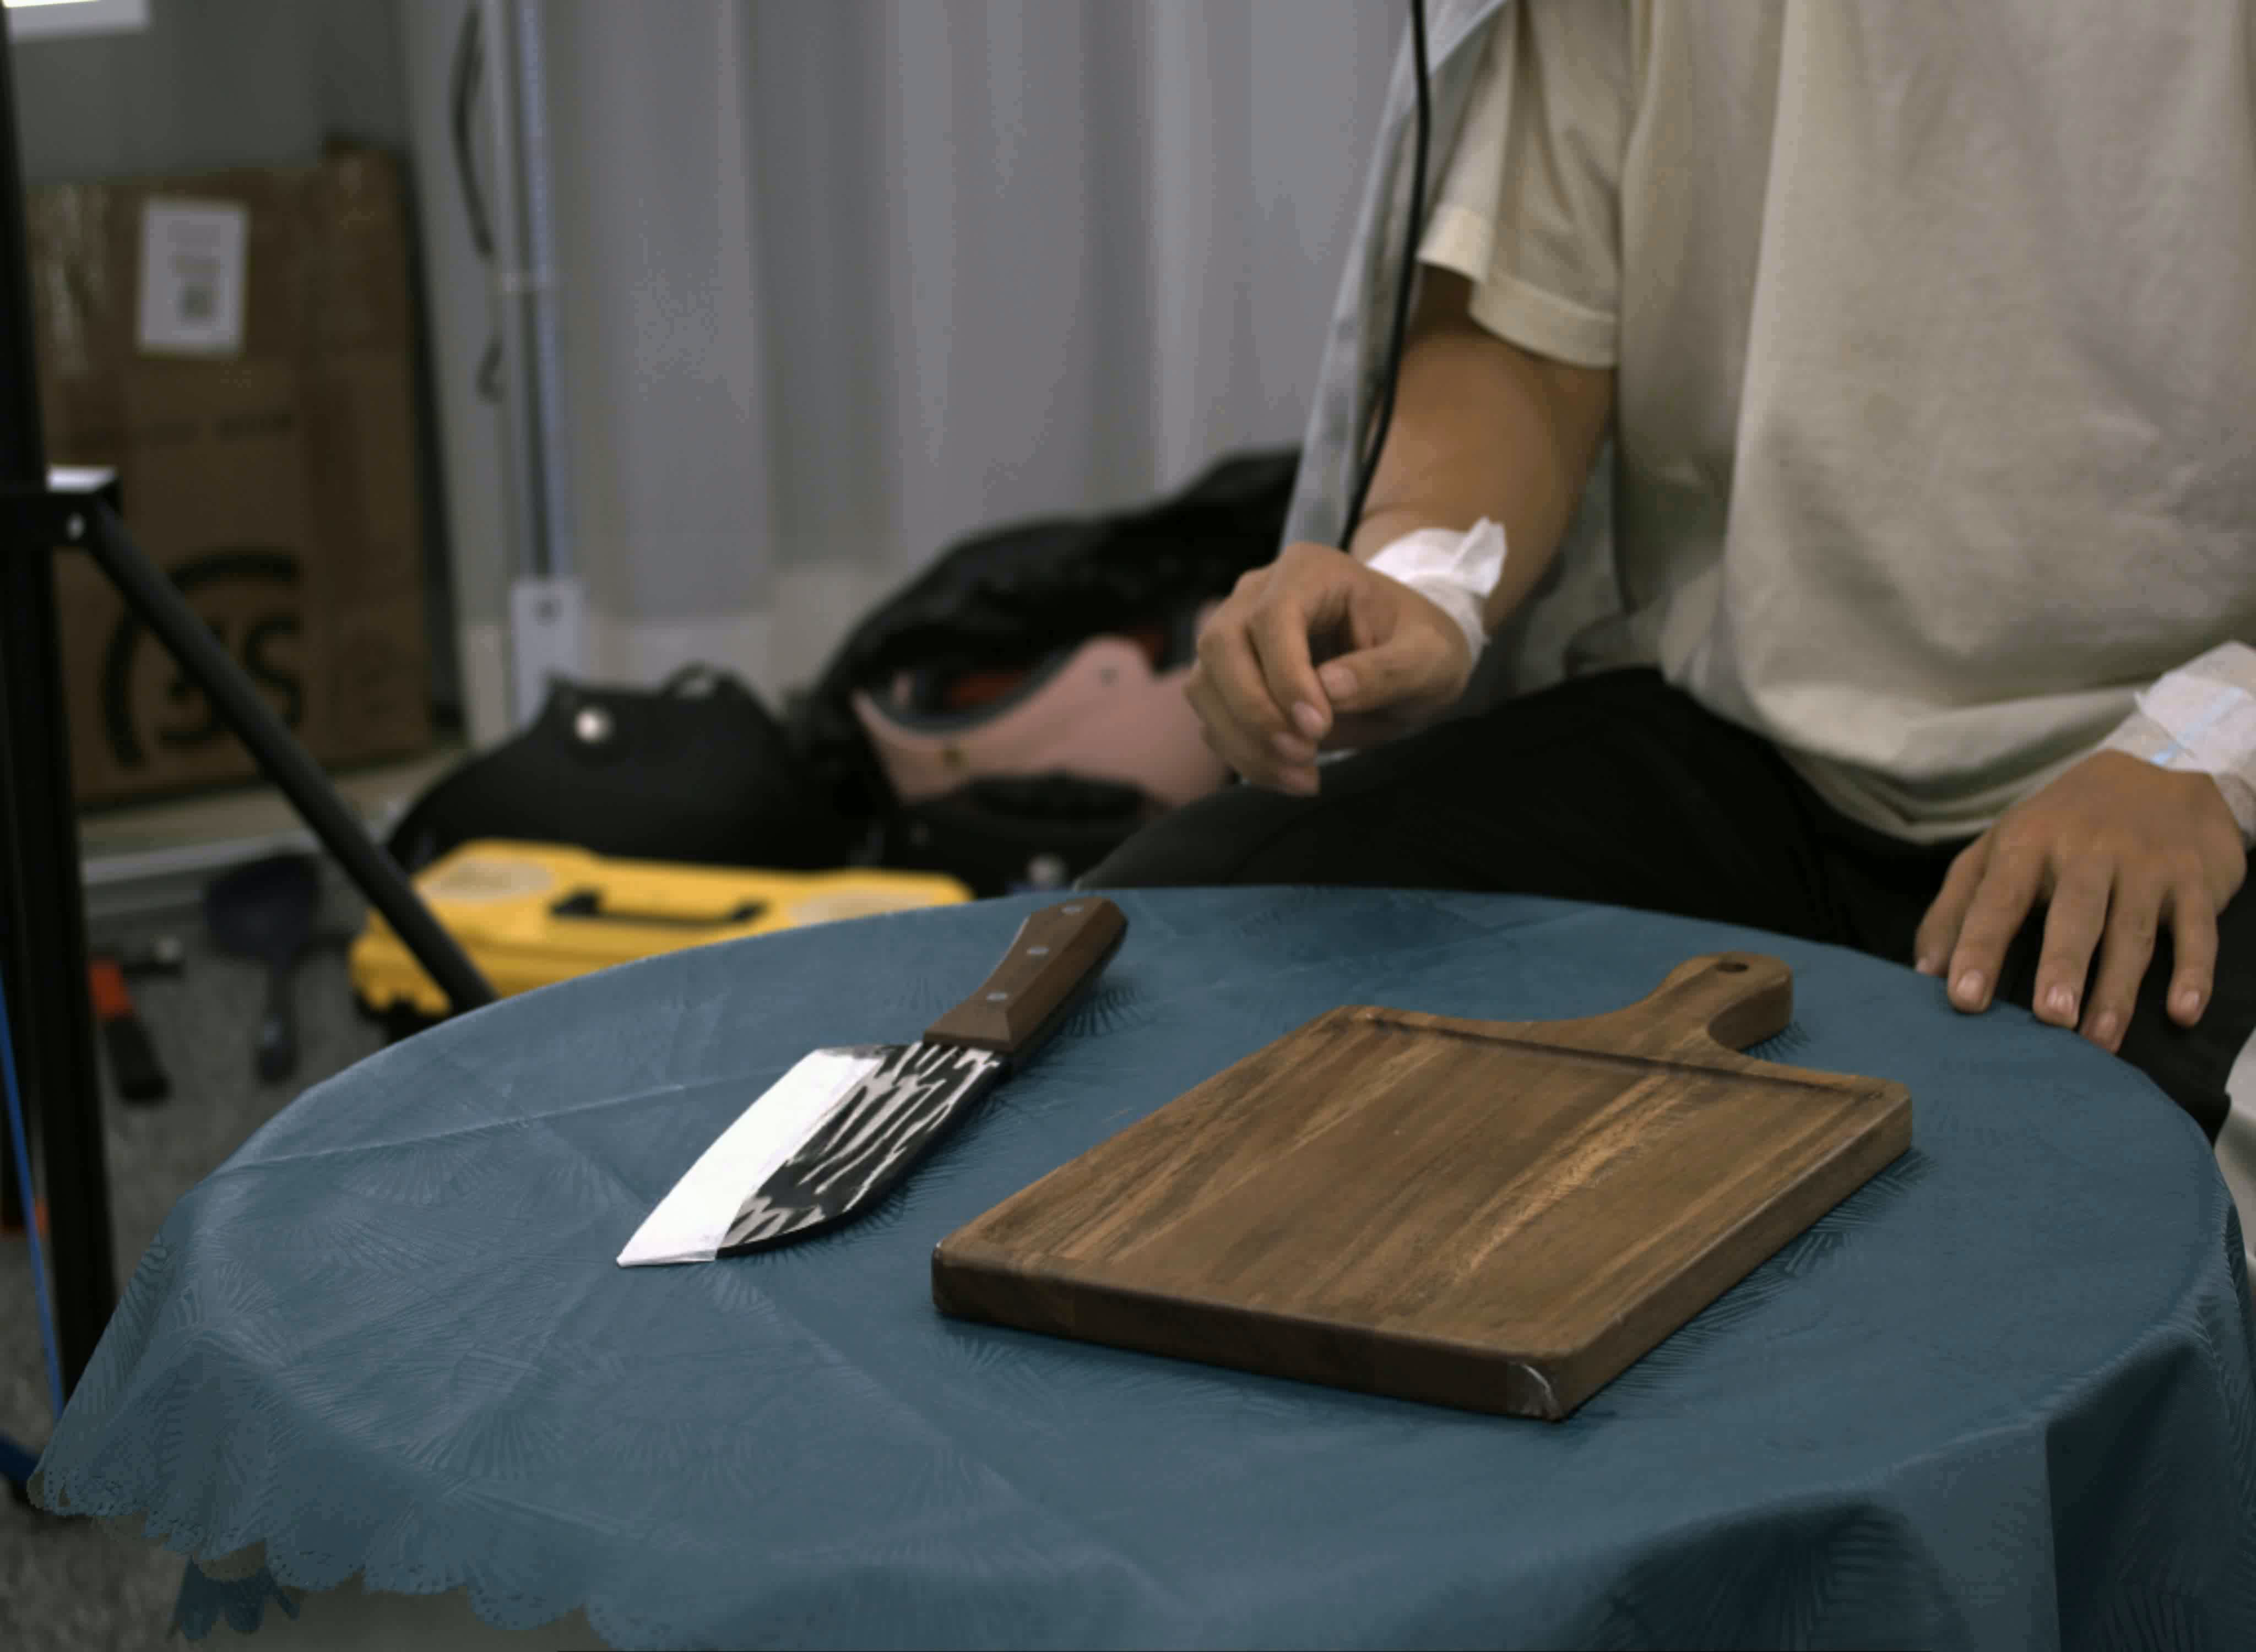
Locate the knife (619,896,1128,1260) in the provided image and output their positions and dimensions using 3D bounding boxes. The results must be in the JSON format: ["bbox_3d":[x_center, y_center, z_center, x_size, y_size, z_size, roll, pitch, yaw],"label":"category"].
[{"bbox_3d":[-0.074,0.078,1.640,0.069,0.024,0.296,1,19,21],"label":"knife"}]

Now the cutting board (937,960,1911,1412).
[{"bbox_3d":[0.114,0.095,1.554,0.204,0.023,0.346,5,16,30],"label":"cutting board"}]
